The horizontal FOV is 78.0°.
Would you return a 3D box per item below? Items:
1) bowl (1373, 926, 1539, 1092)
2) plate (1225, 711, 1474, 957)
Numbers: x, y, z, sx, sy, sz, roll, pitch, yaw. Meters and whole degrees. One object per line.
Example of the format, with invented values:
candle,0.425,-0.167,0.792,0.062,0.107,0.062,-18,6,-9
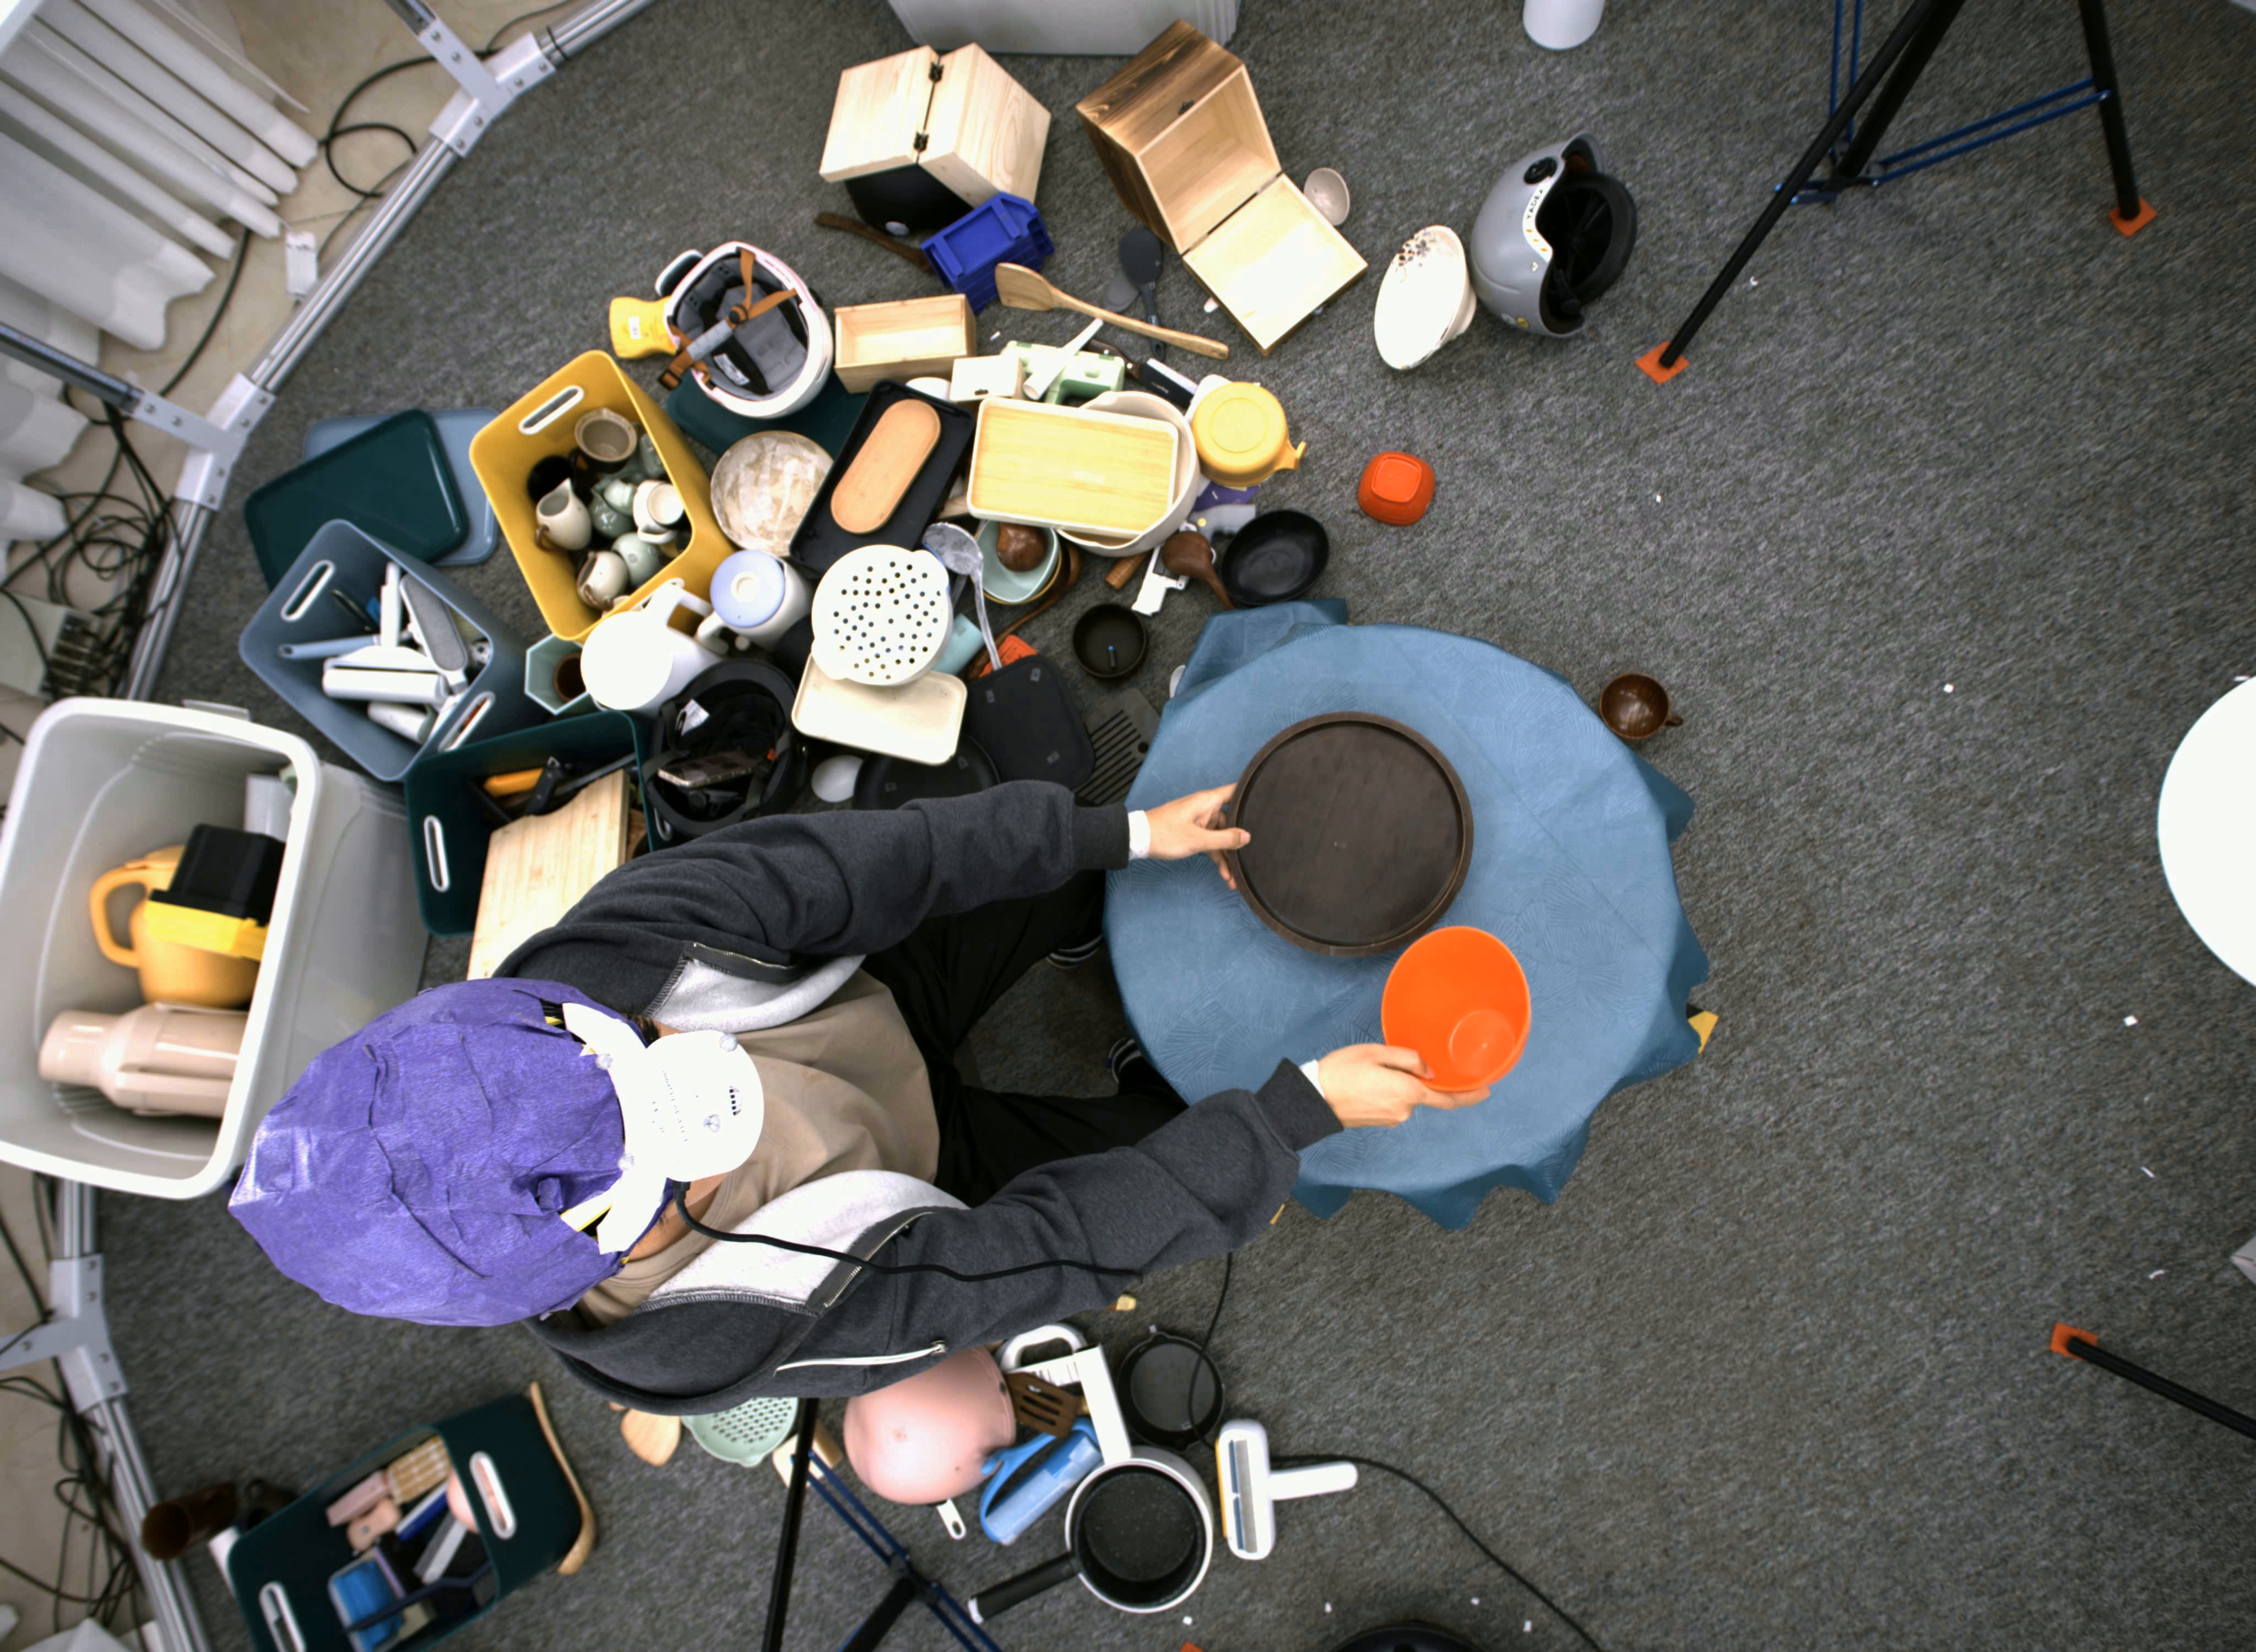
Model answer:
bowl,0.305,0.175,1.274,0.149,0.105,0.145,-6,72,18
plate,0.227,0.007,1.420,0.255,0.029,0.255,0,92,7
